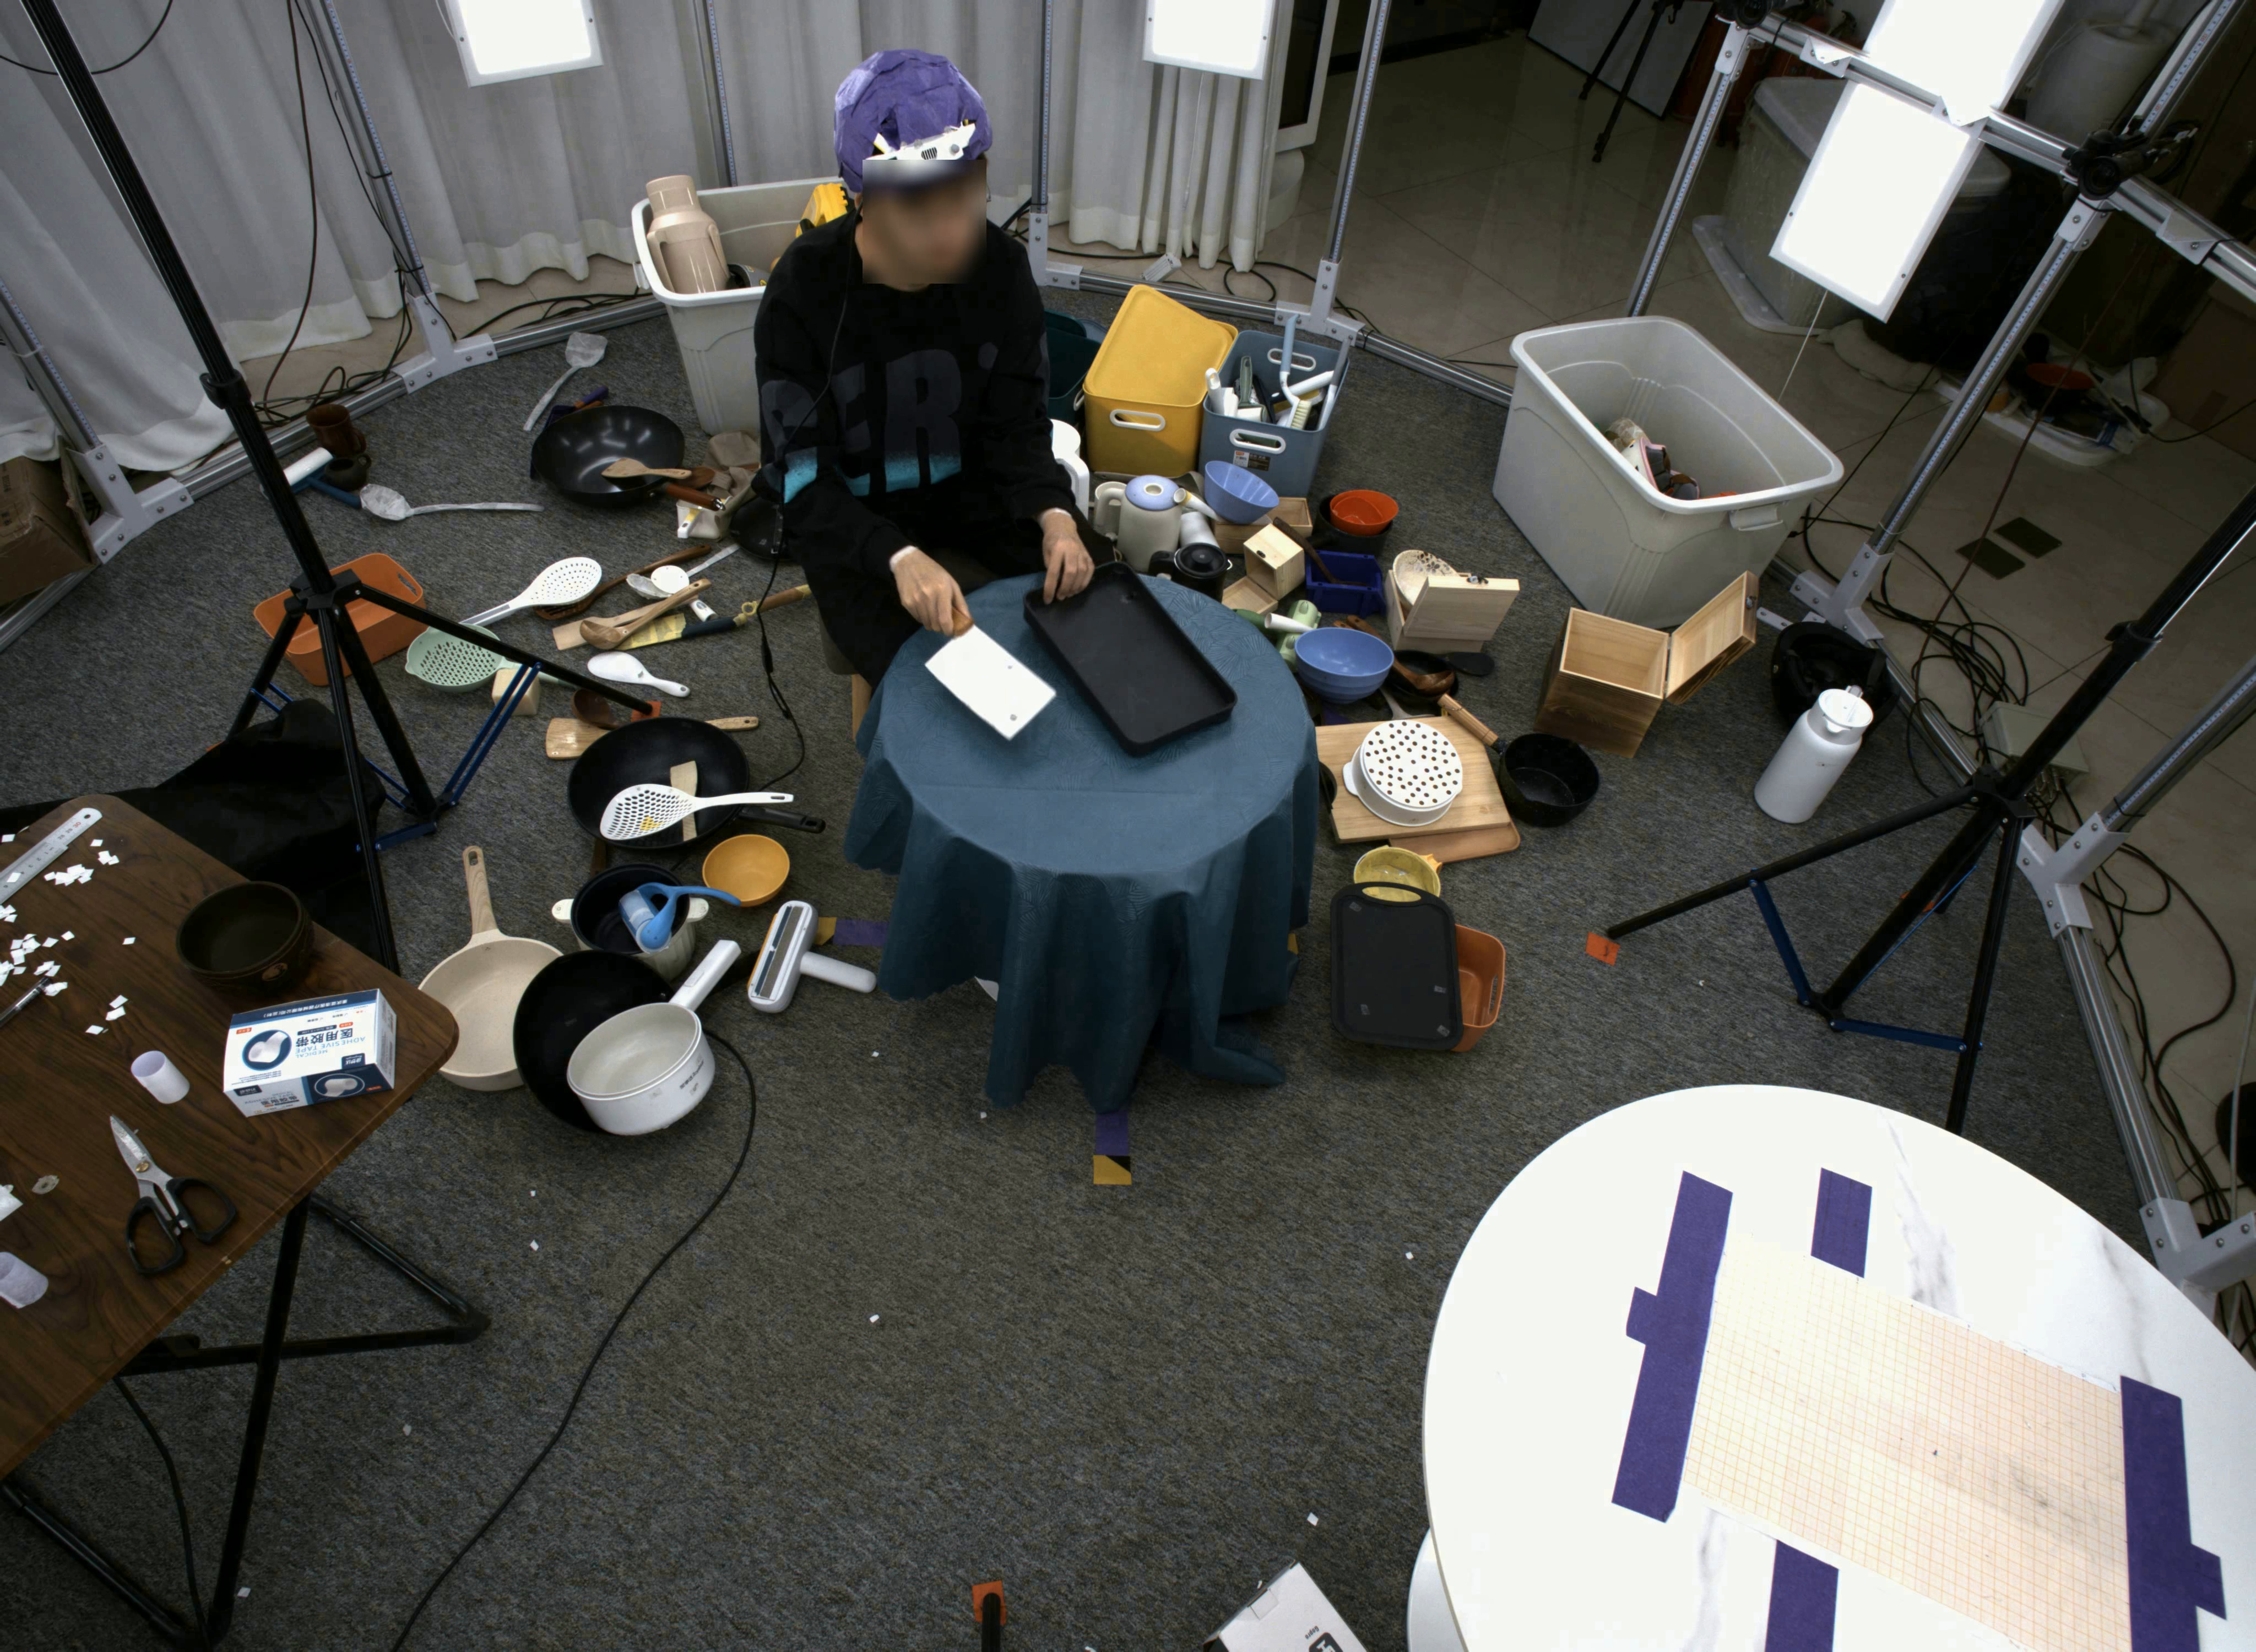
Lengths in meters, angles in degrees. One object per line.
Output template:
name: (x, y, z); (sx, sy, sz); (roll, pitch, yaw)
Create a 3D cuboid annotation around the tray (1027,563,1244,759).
tray: (0.007, -0.242, 1.835); (0.185, 0.036, 0.324); (-24, 60, -24)

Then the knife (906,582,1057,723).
knife: (-0.223, -0.238, 1.777); (0.093, 0.020, 0.311); (-45, 59, -9)
